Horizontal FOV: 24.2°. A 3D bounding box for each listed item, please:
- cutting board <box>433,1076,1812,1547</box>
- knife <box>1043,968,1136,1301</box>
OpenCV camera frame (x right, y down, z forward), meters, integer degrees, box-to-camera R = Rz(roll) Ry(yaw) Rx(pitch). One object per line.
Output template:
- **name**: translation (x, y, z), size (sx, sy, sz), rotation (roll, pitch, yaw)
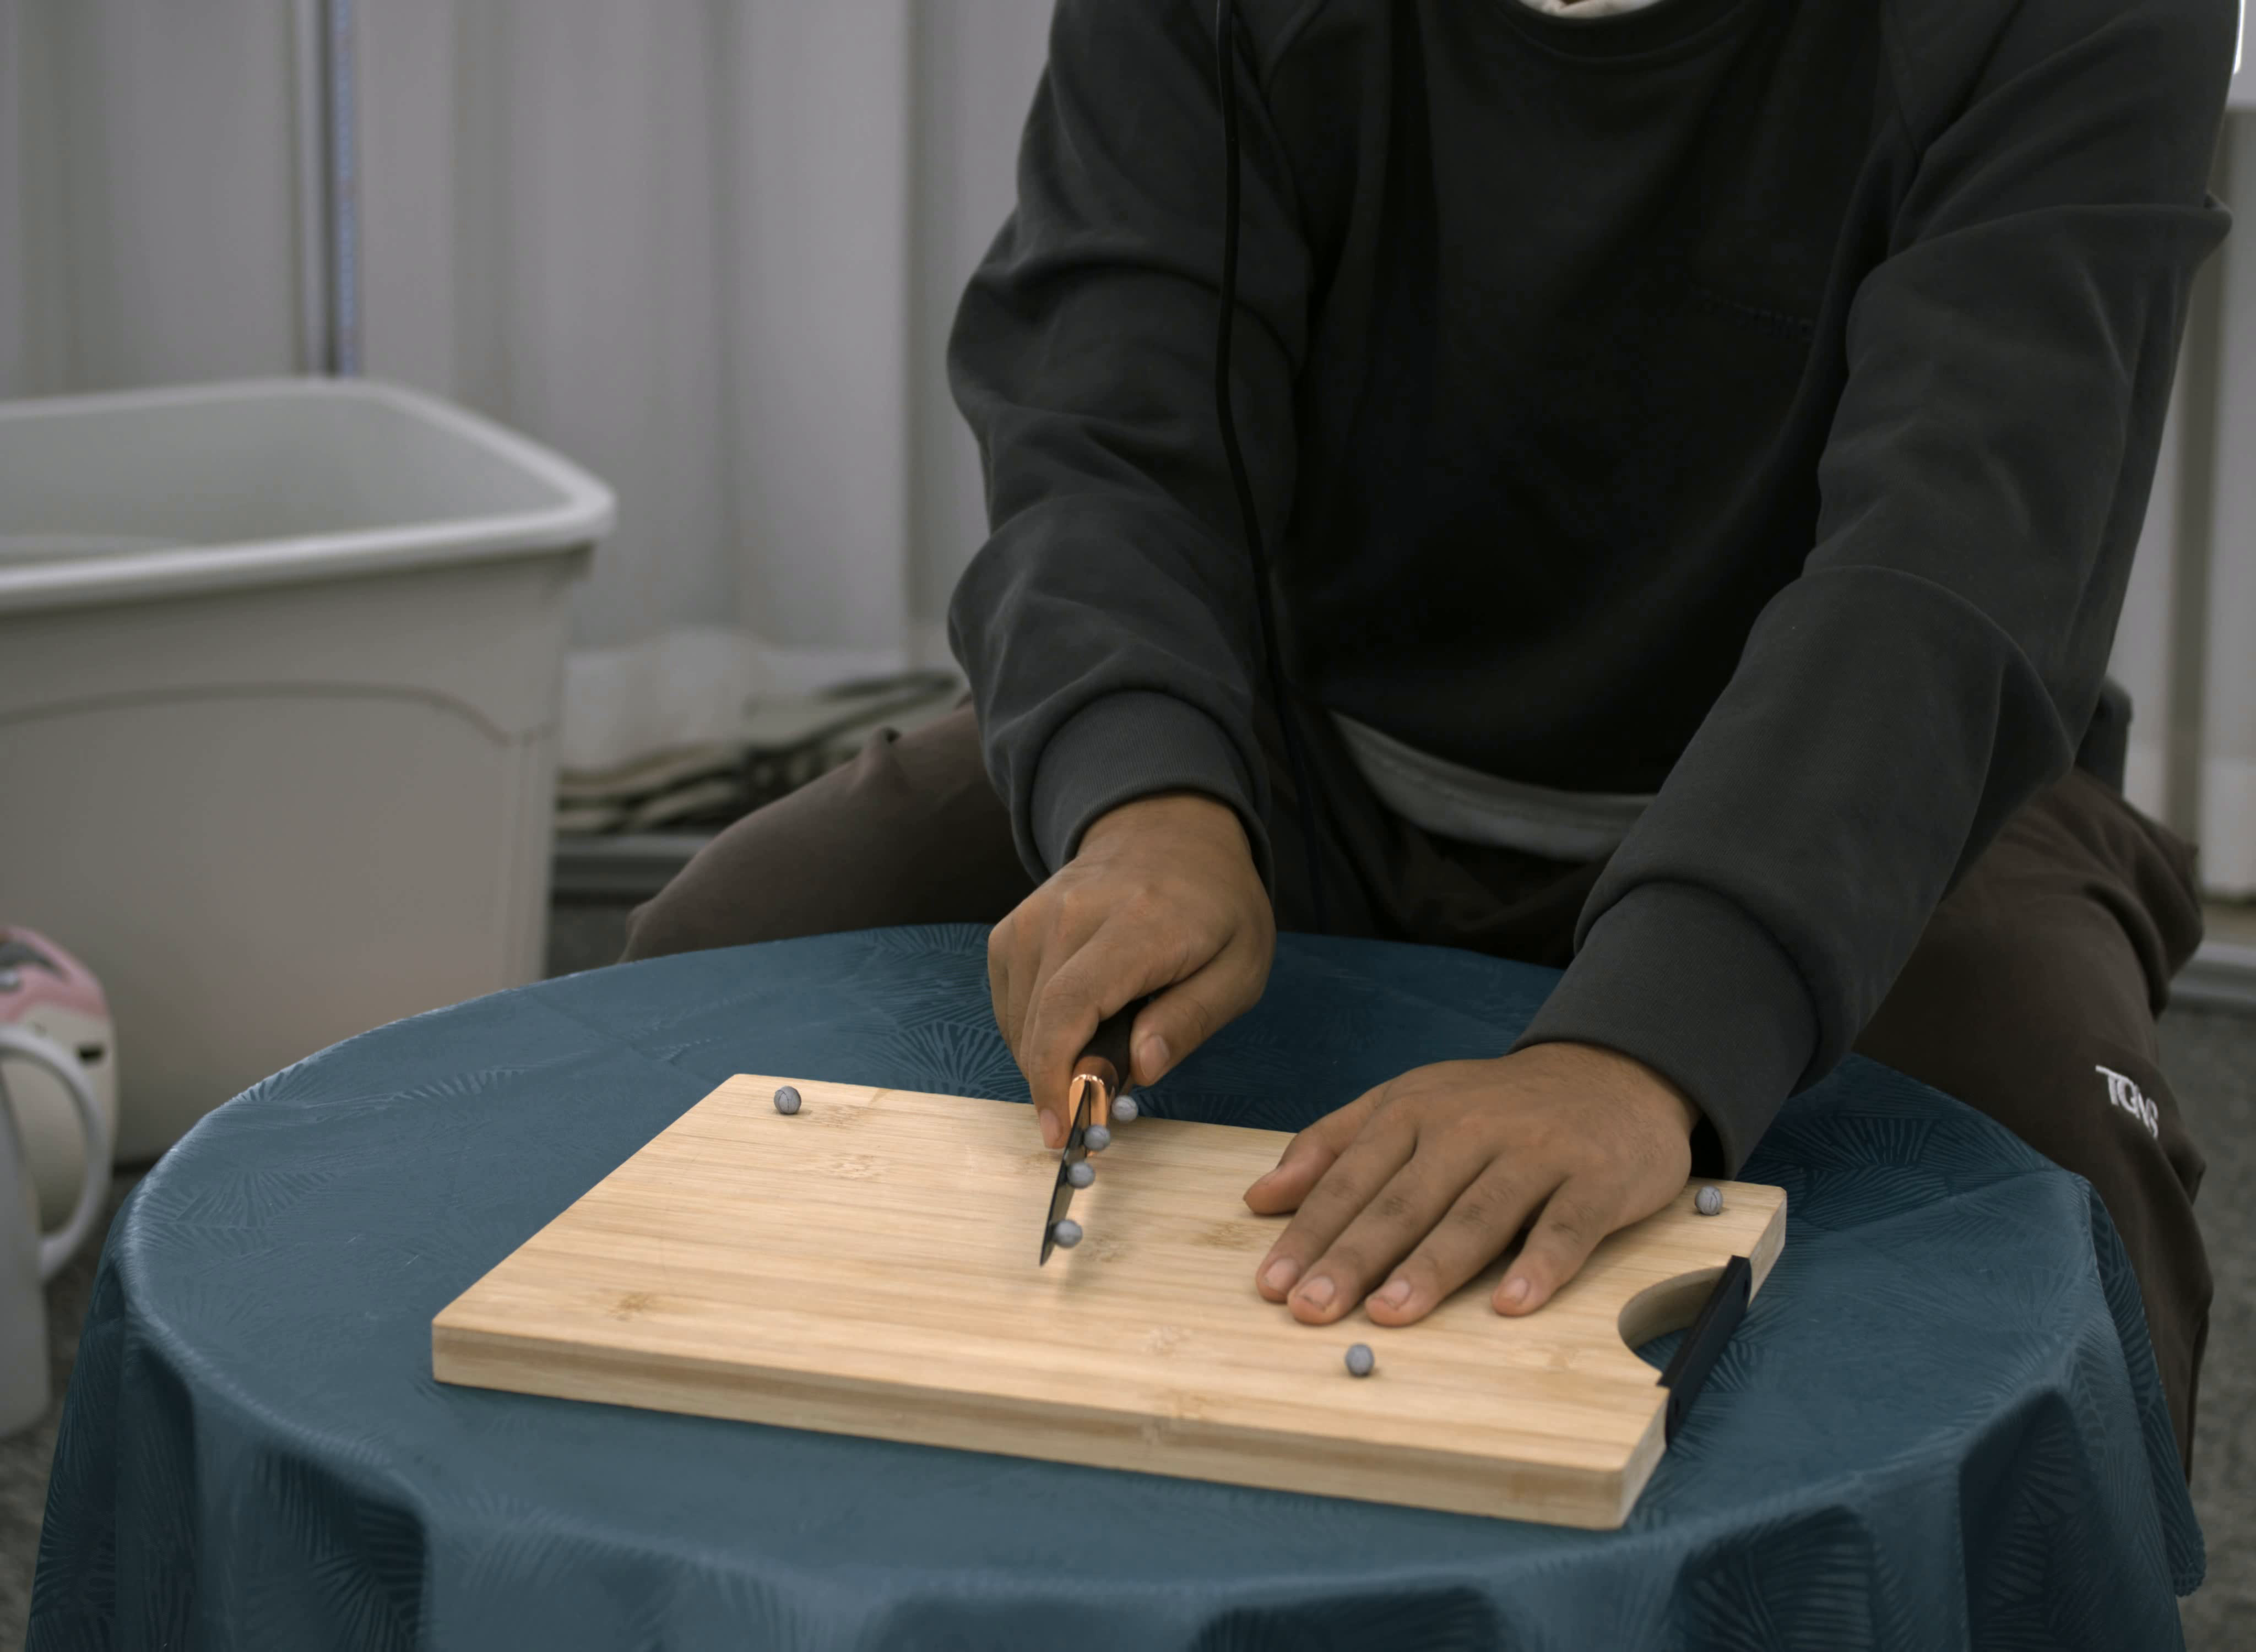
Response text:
- **cutting board**: translation (0.007, 0.133, 1.522), size (0.346, 0.024, 0.250), rotation (5, 16, 15)
- **knife**: translation (-0.013, 0.089, 1.576), size (0.017, 0.026, 0.224), rotation (3, 19, 4)
